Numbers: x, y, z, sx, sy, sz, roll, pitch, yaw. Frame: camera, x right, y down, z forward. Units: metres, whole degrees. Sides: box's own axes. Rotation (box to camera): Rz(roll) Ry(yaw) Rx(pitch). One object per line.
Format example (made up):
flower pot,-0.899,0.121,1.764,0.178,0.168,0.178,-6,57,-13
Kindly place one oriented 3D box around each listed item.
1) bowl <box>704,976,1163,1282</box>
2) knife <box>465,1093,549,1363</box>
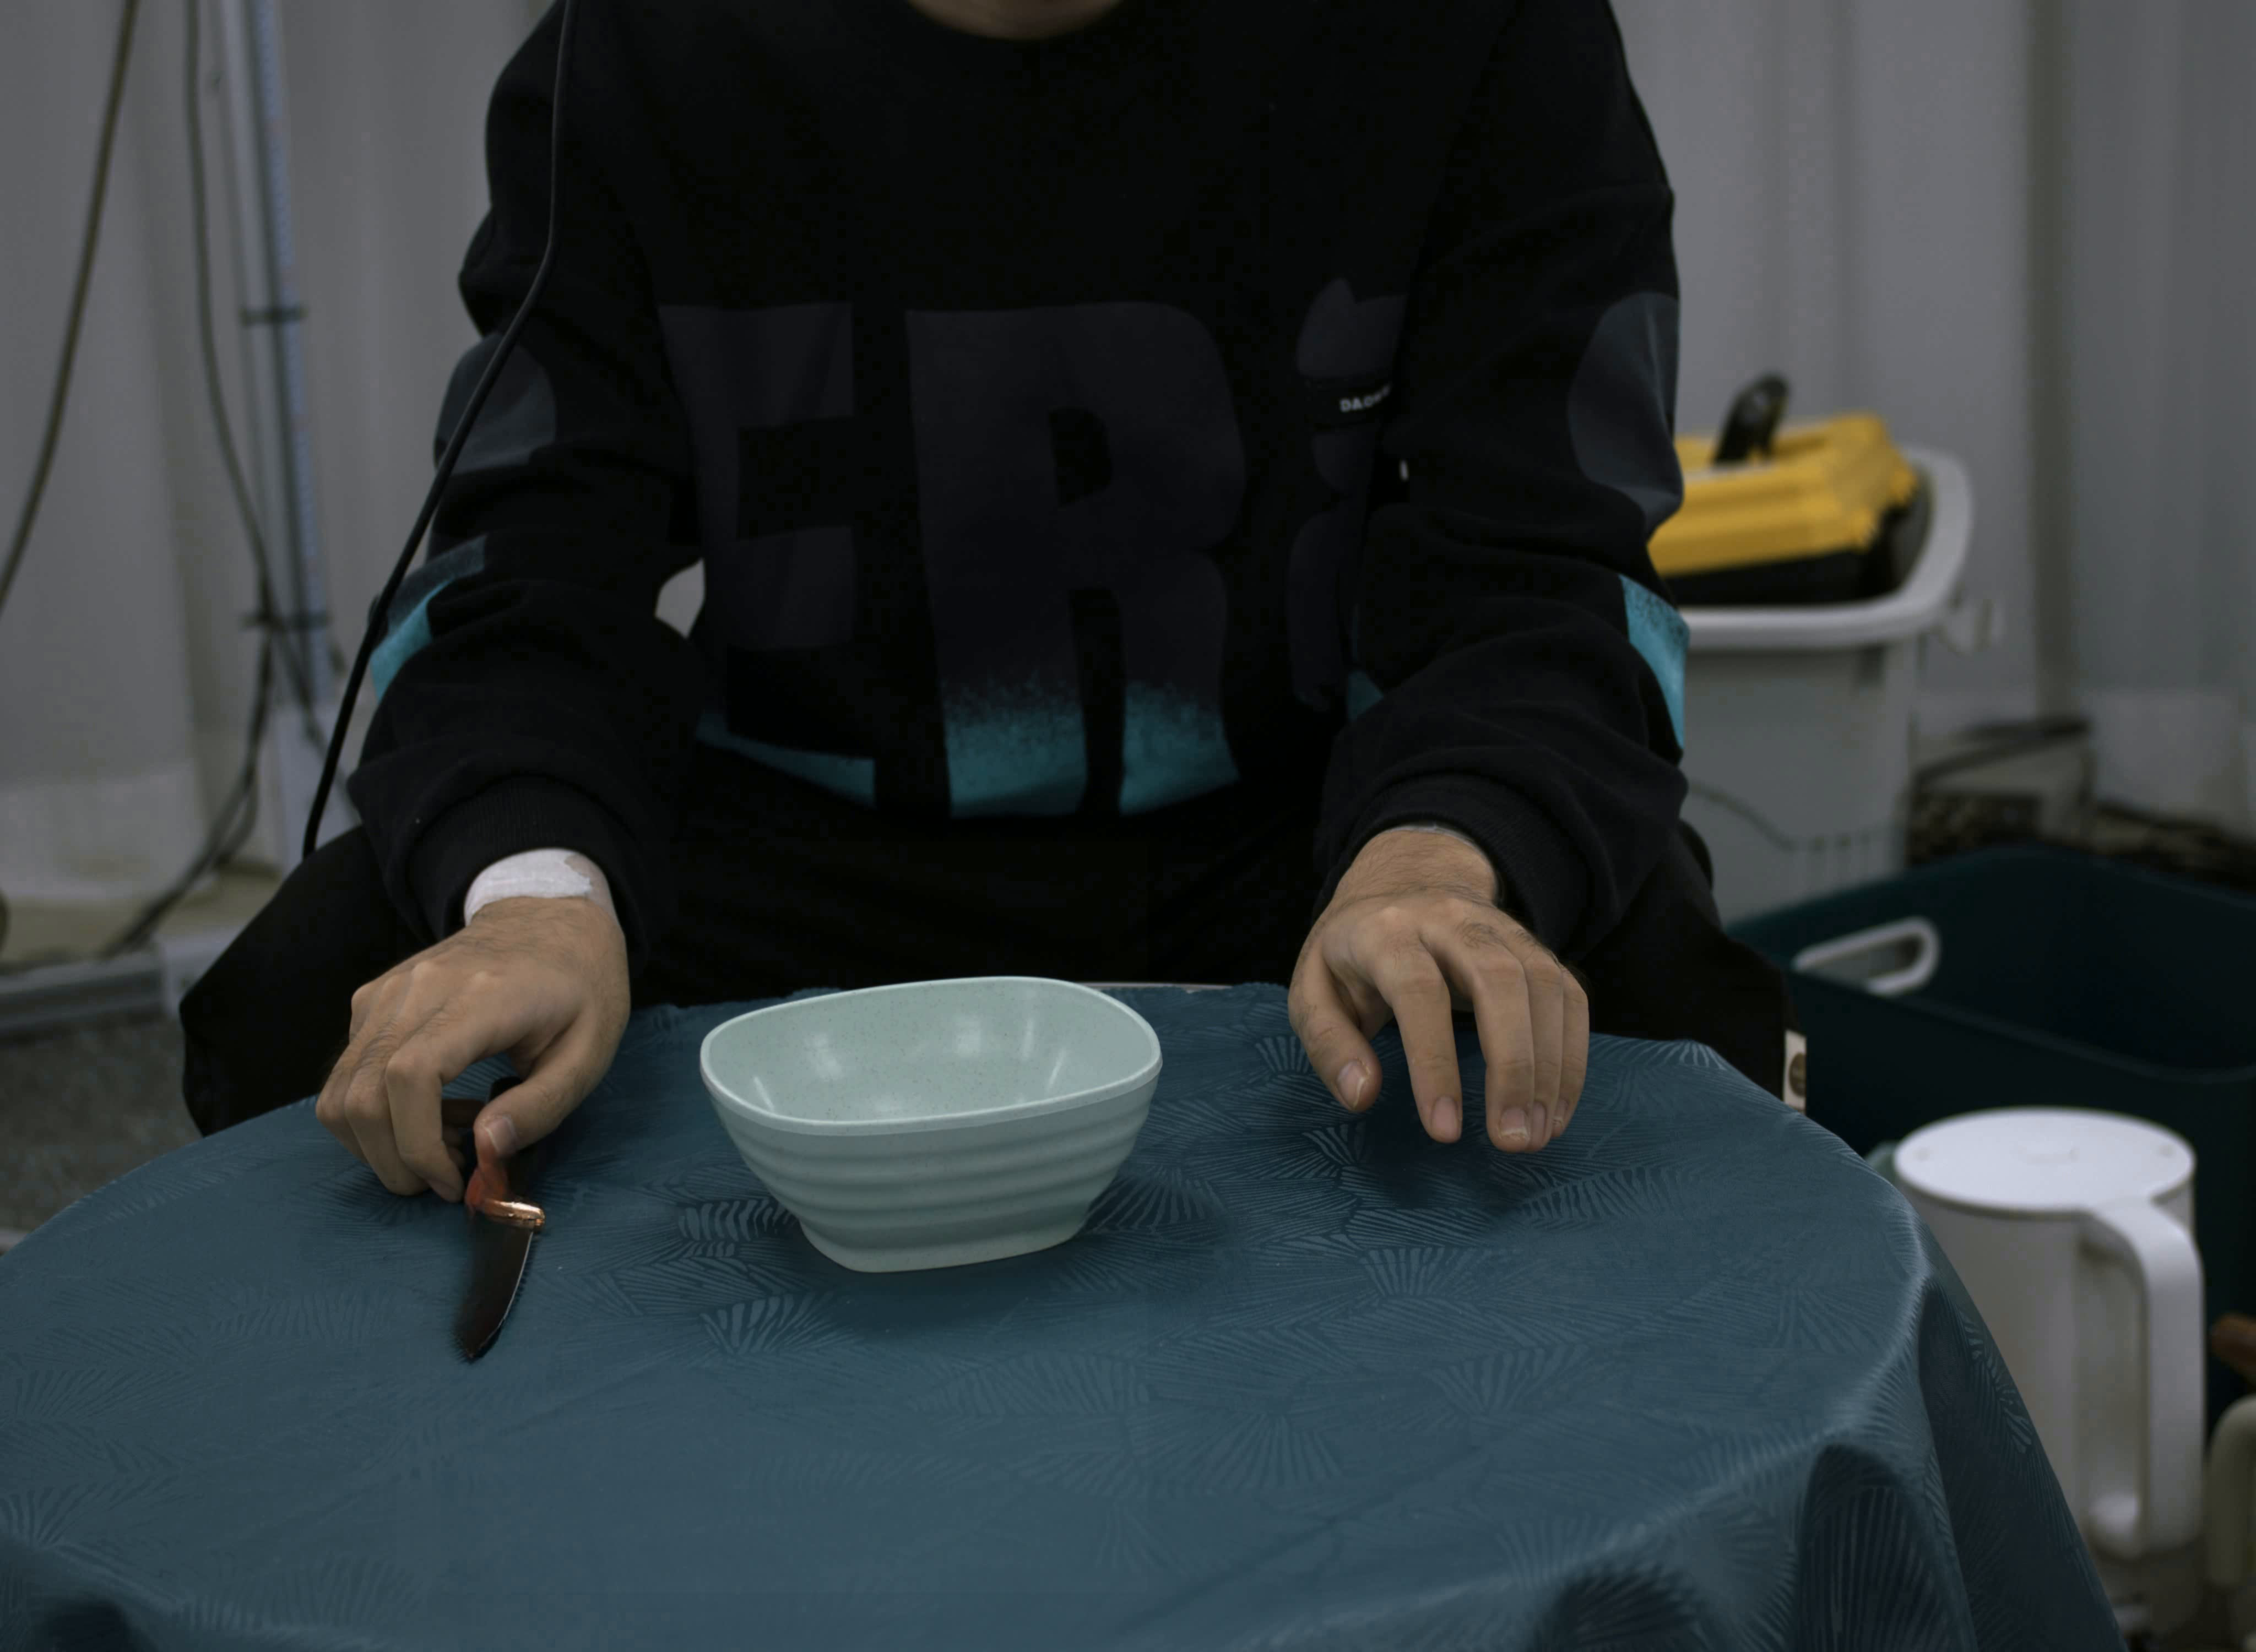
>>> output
bowl,-0.058,0.097,1.688,0.151,0.058,0.152,-4,16,1
knife,-0.193,0.124,1.699,0.026,0.017,0.227,7,15,-6
